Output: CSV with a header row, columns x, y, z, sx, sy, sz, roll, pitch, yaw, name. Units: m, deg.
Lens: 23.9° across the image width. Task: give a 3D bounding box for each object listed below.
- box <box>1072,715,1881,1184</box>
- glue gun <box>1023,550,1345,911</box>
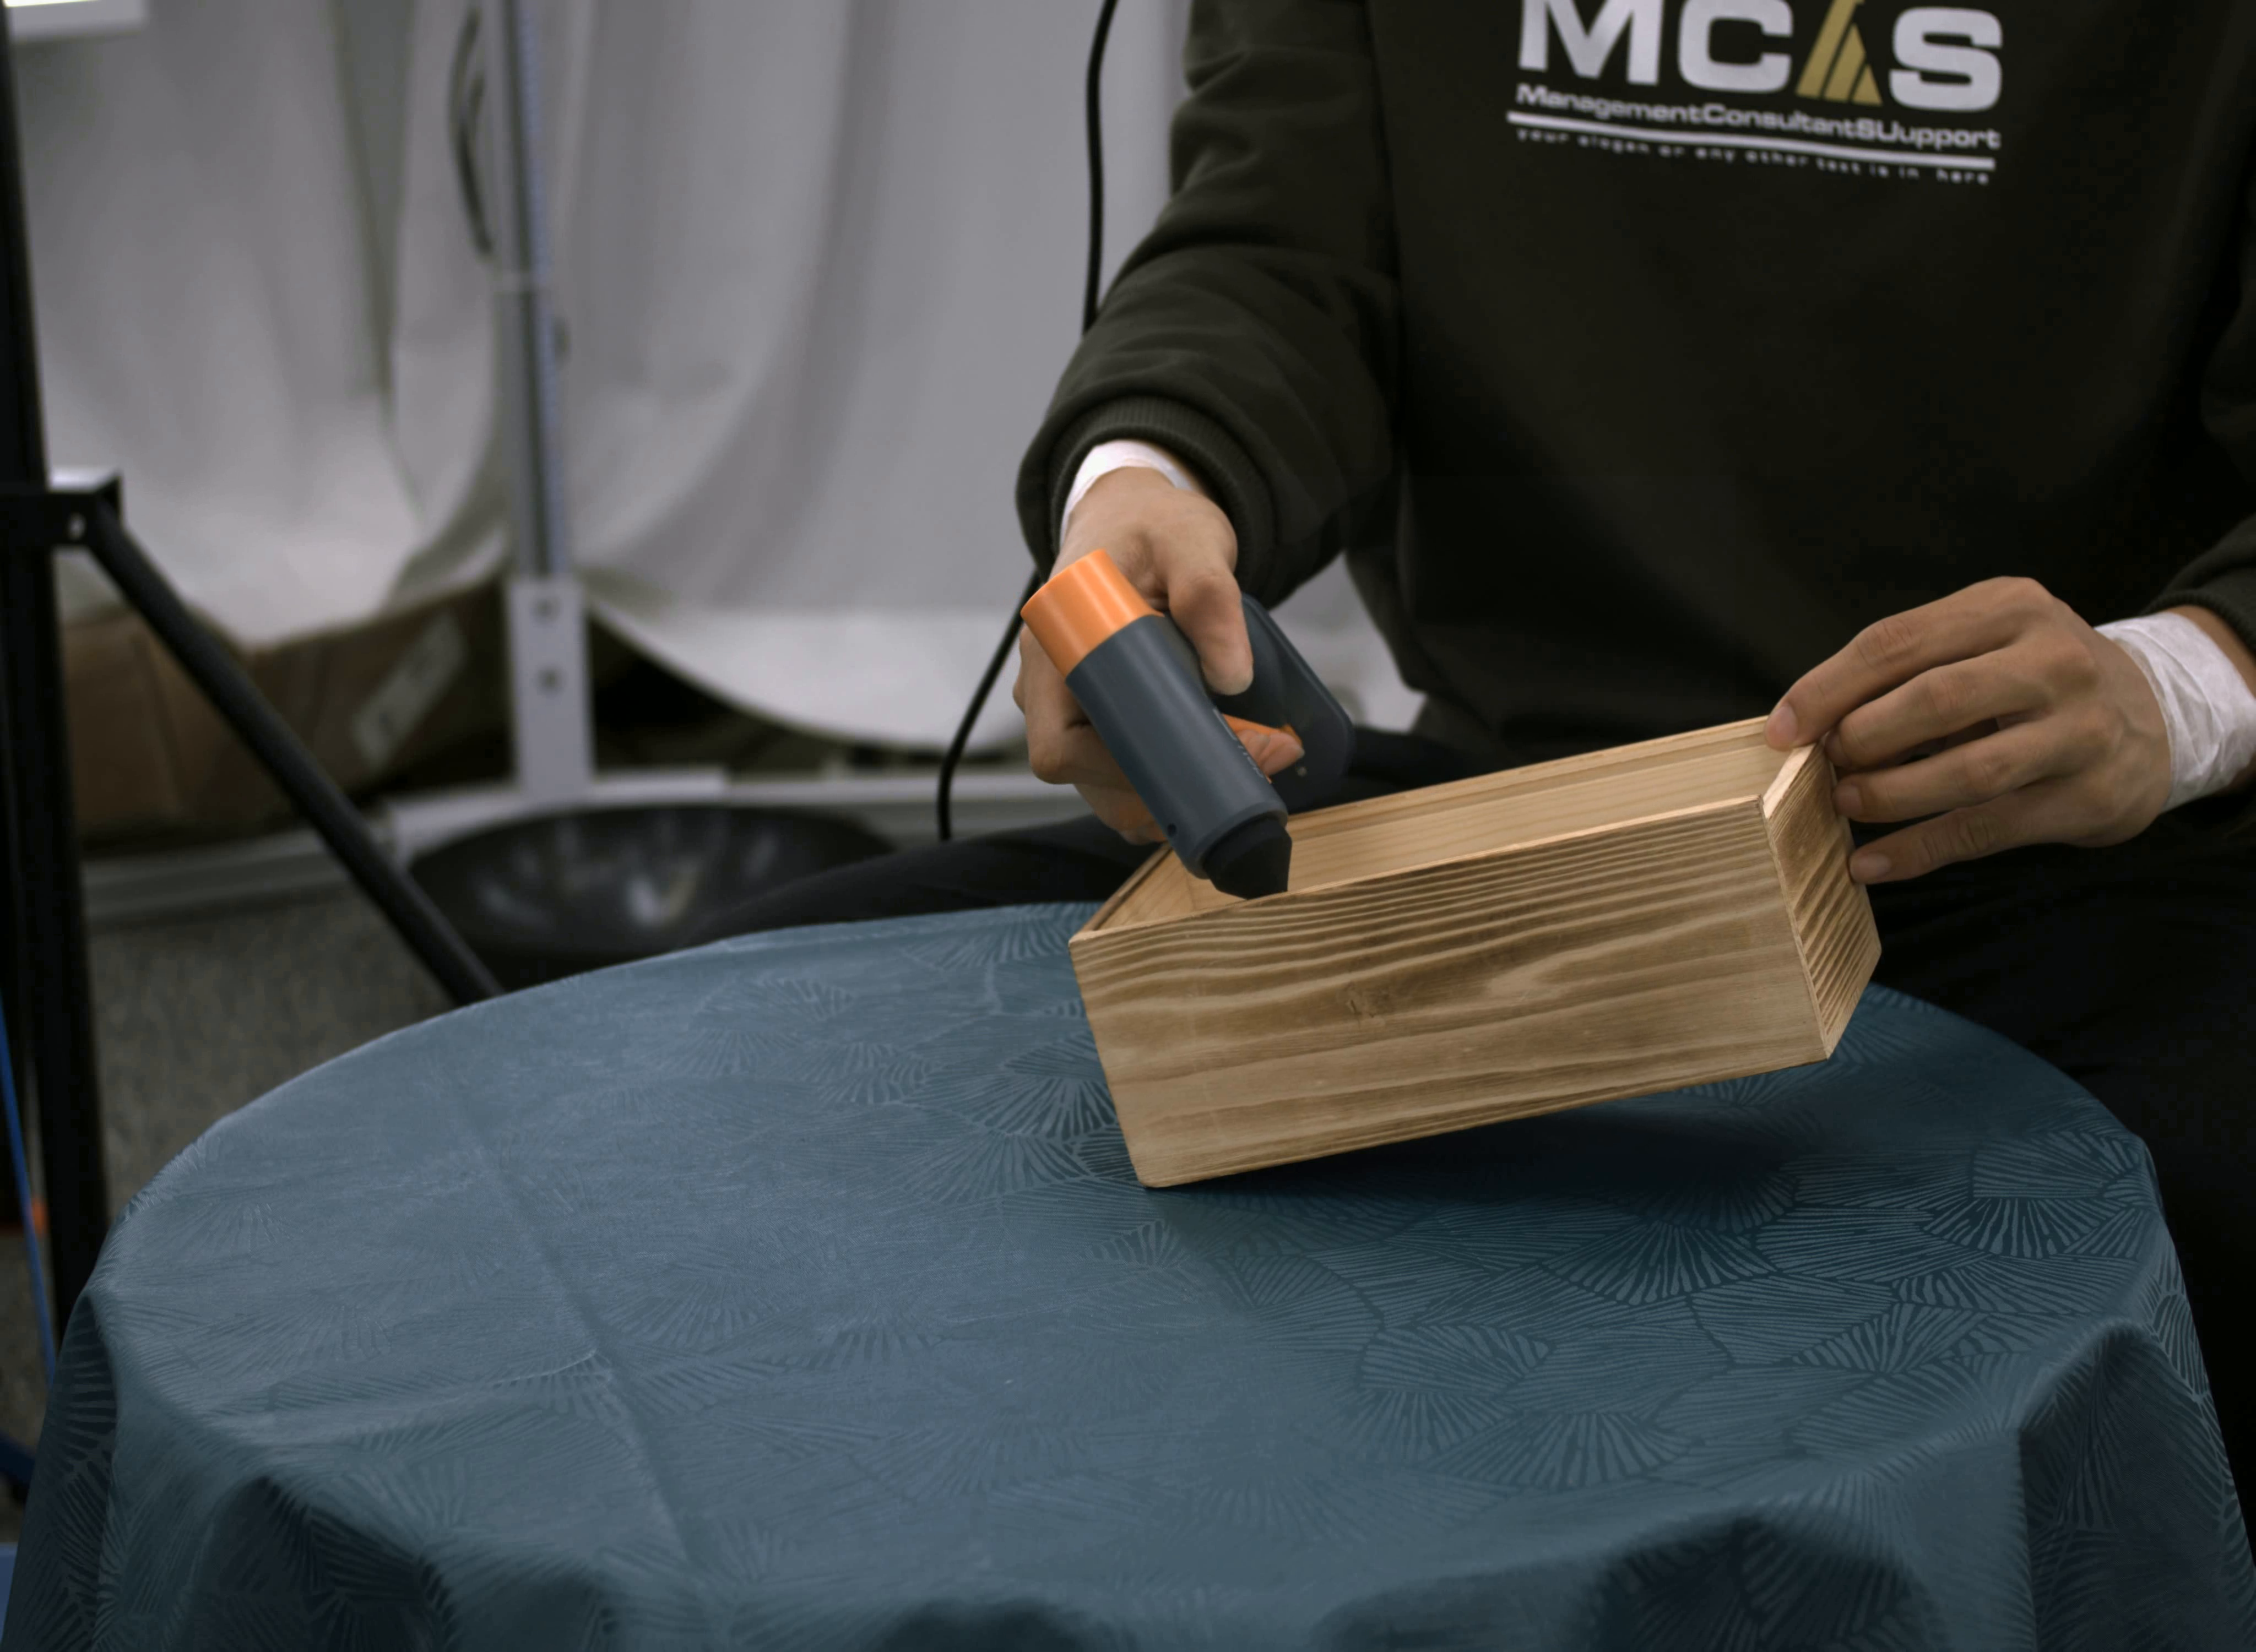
x,y,z,sx,sy,sz,roll,pitch,yaw,name
0.104,0.037,1.562,0.213,0.080,0.106,-12,11,21,box
0.024,-0.028,1.599,0.041,0.119,0.138,-39,-6,15,glue gun
